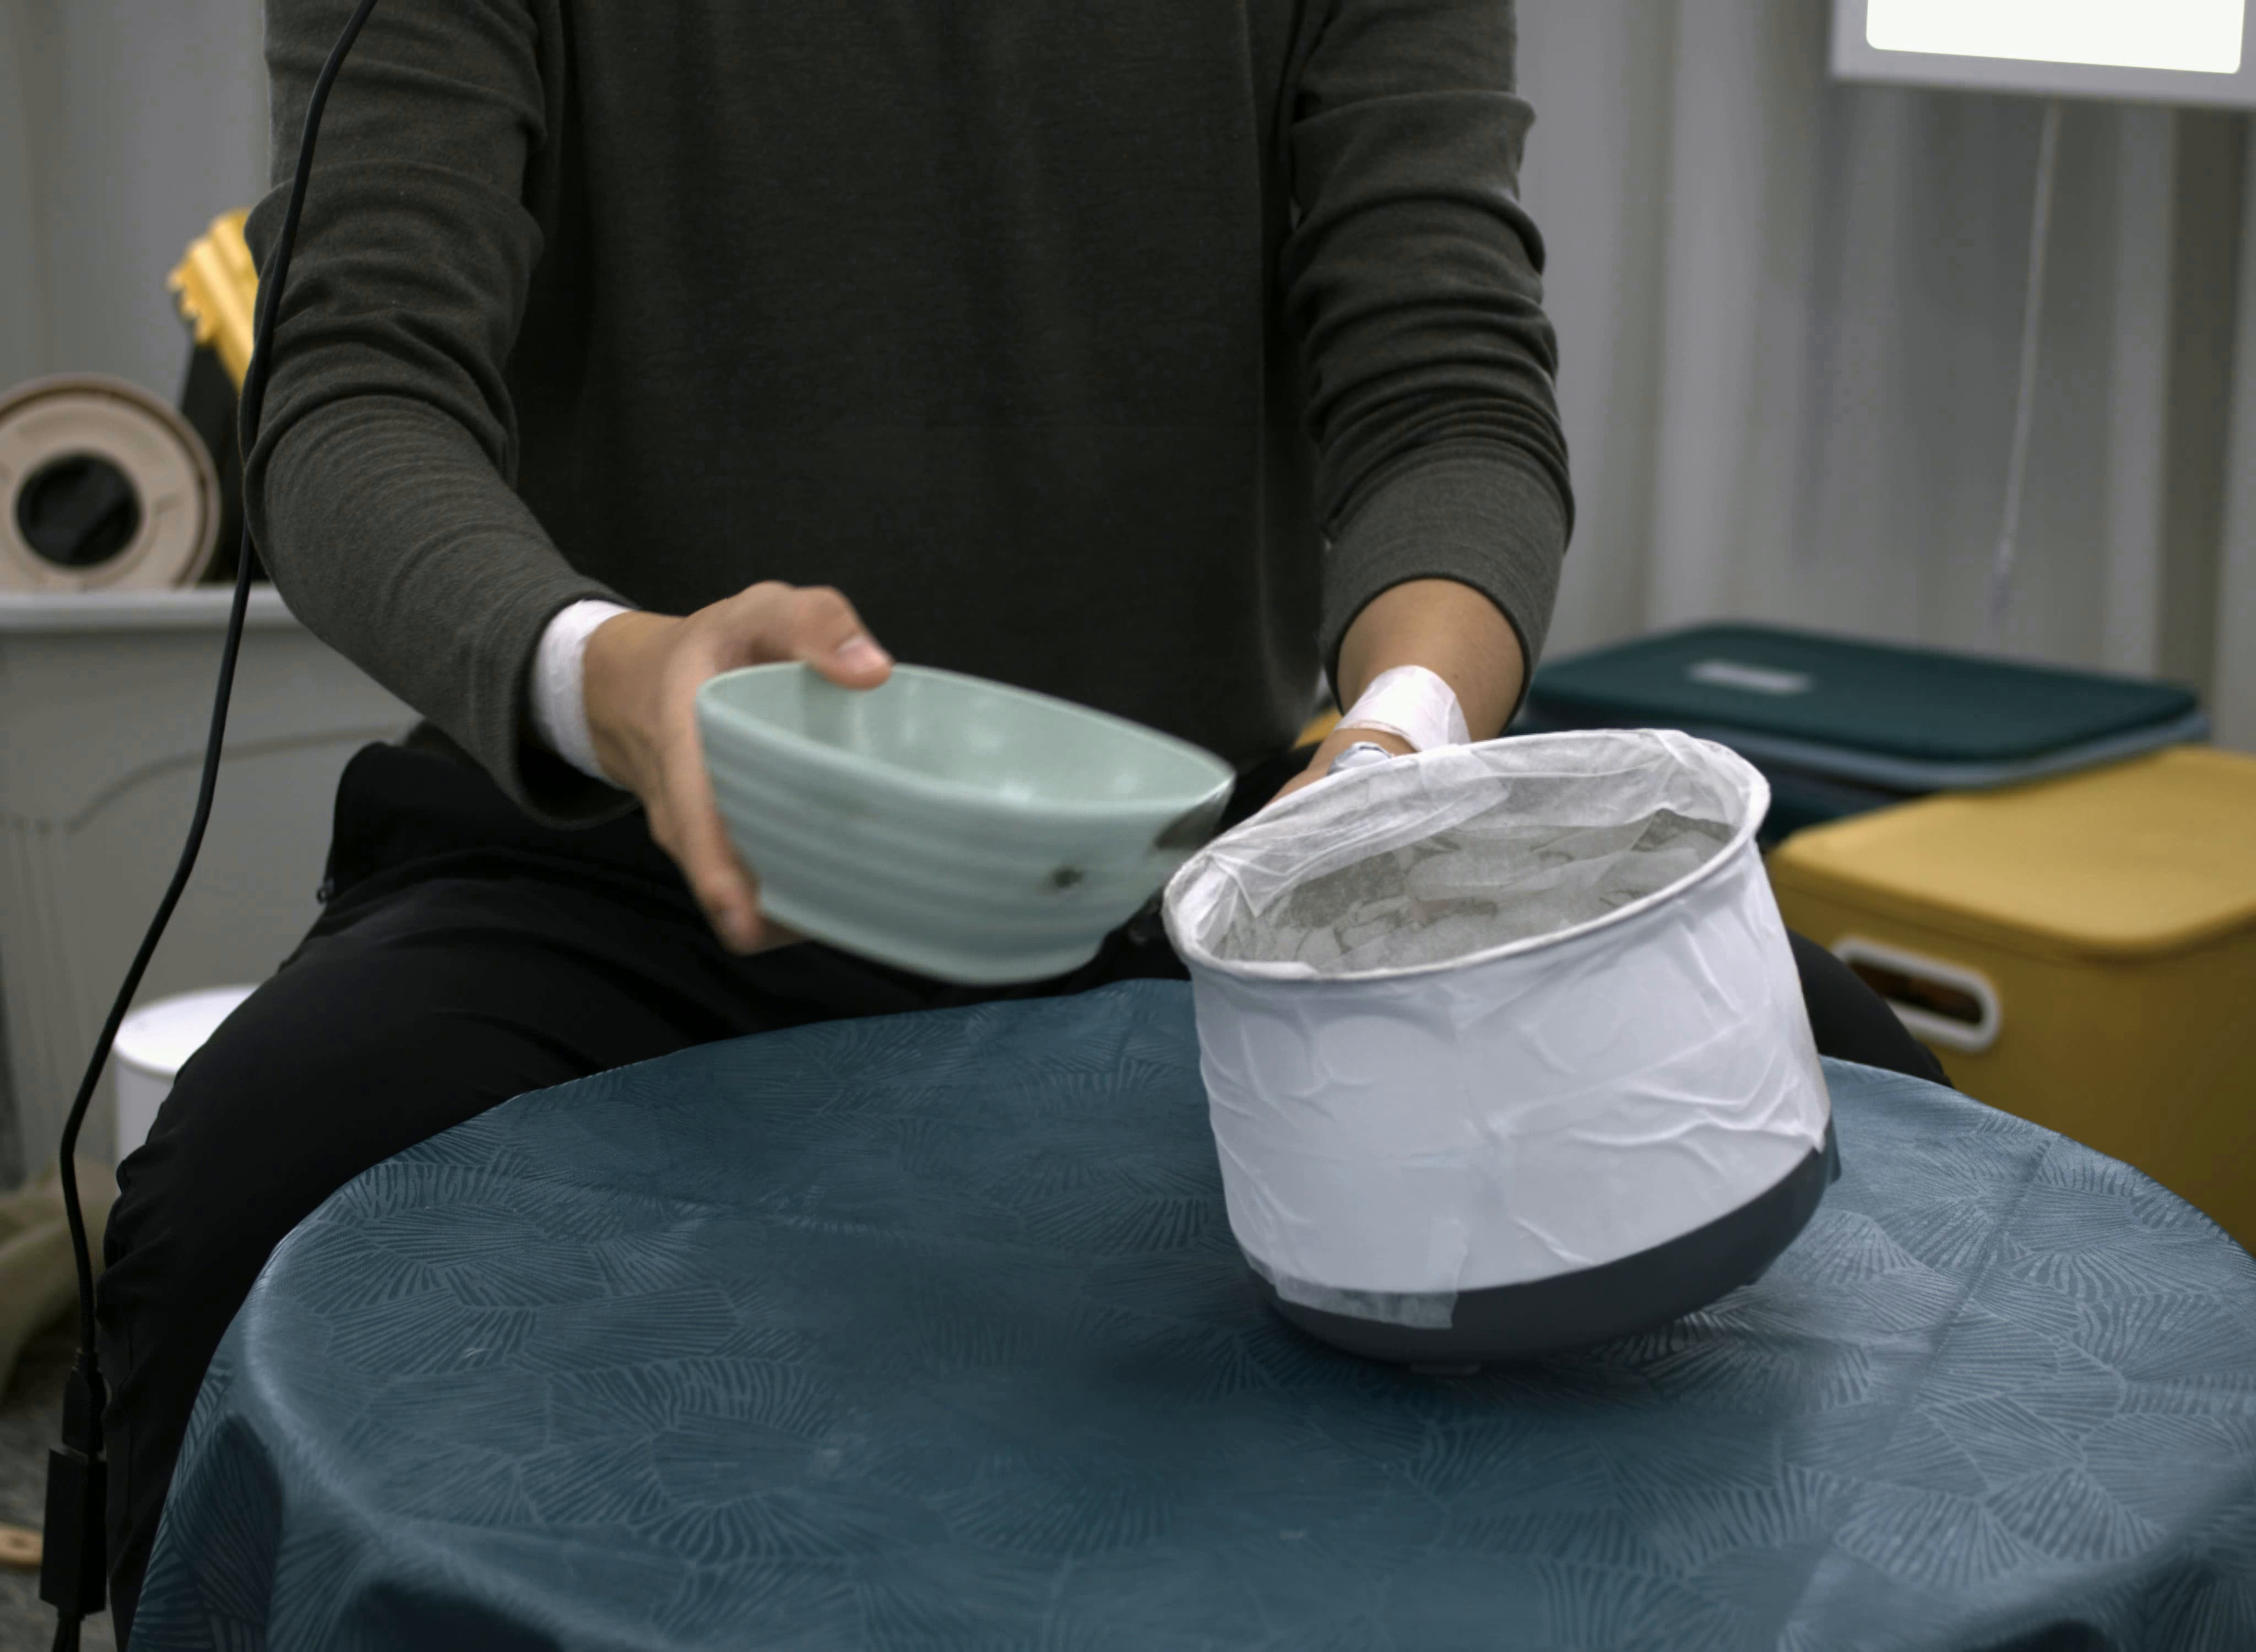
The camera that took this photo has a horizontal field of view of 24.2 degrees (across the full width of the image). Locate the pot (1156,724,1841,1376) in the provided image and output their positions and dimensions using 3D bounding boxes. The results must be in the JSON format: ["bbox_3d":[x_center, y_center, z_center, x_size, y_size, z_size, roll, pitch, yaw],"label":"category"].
[{"bbox_3d":[0.100,0.056,1.529,0.178,0.138,0.231,-17,20,-11],"label":"pot"}]

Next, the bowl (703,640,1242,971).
[{"bbox_3d":[-0.047,-0.003,1.433,0.151,0.059,0.151,12,13,-2],"label":"bowl"}]
